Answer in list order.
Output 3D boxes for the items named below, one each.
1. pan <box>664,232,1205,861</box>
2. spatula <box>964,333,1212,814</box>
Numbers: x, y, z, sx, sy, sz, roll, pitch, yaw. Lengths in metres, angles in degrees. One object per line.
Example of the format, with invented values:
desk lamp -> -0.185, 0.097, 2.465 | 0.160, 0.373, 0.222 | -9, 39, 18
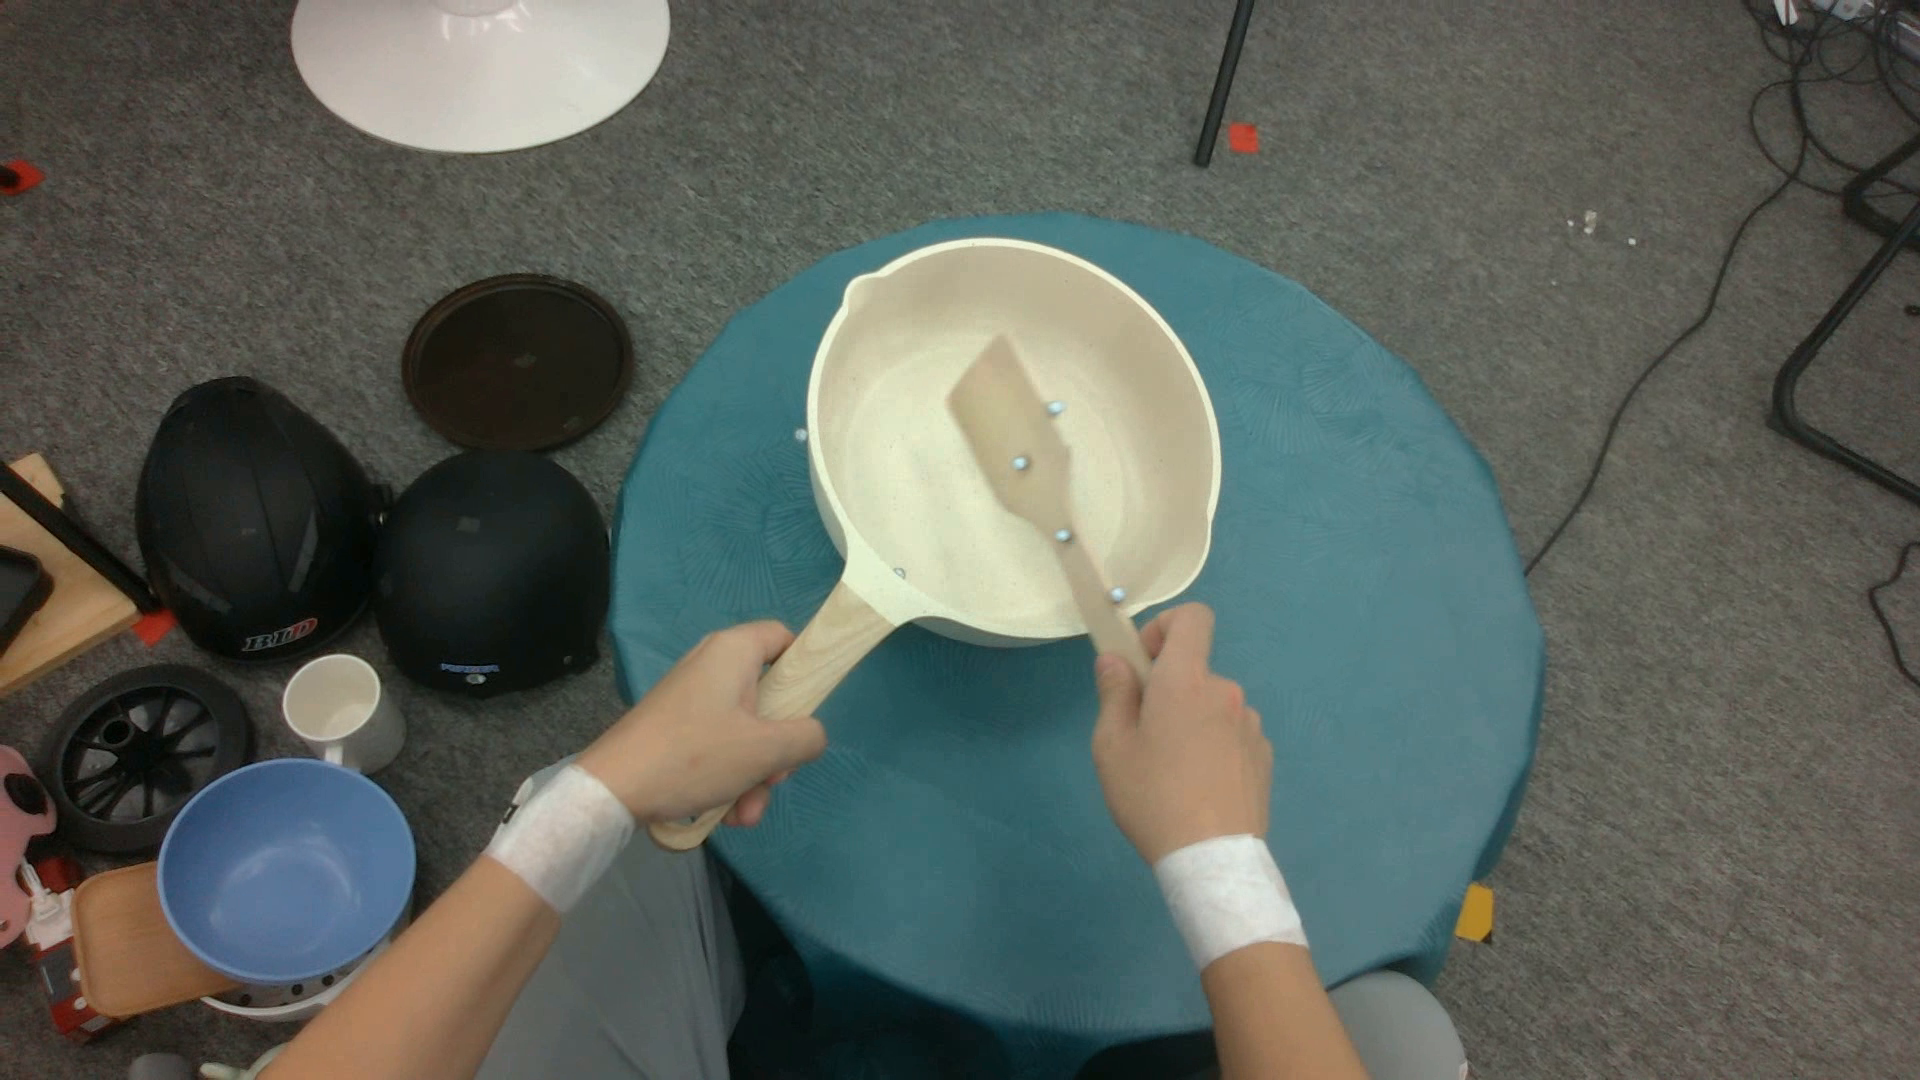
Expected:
pan -> -0.031, 0.006, 0.799 | 0.263, 0.101, 0.436 | 38, 65, -1
spatula -> 0.072, 0.016, 0.769 | 0.011, 0.072, 0.294 | -2, 58, -38
